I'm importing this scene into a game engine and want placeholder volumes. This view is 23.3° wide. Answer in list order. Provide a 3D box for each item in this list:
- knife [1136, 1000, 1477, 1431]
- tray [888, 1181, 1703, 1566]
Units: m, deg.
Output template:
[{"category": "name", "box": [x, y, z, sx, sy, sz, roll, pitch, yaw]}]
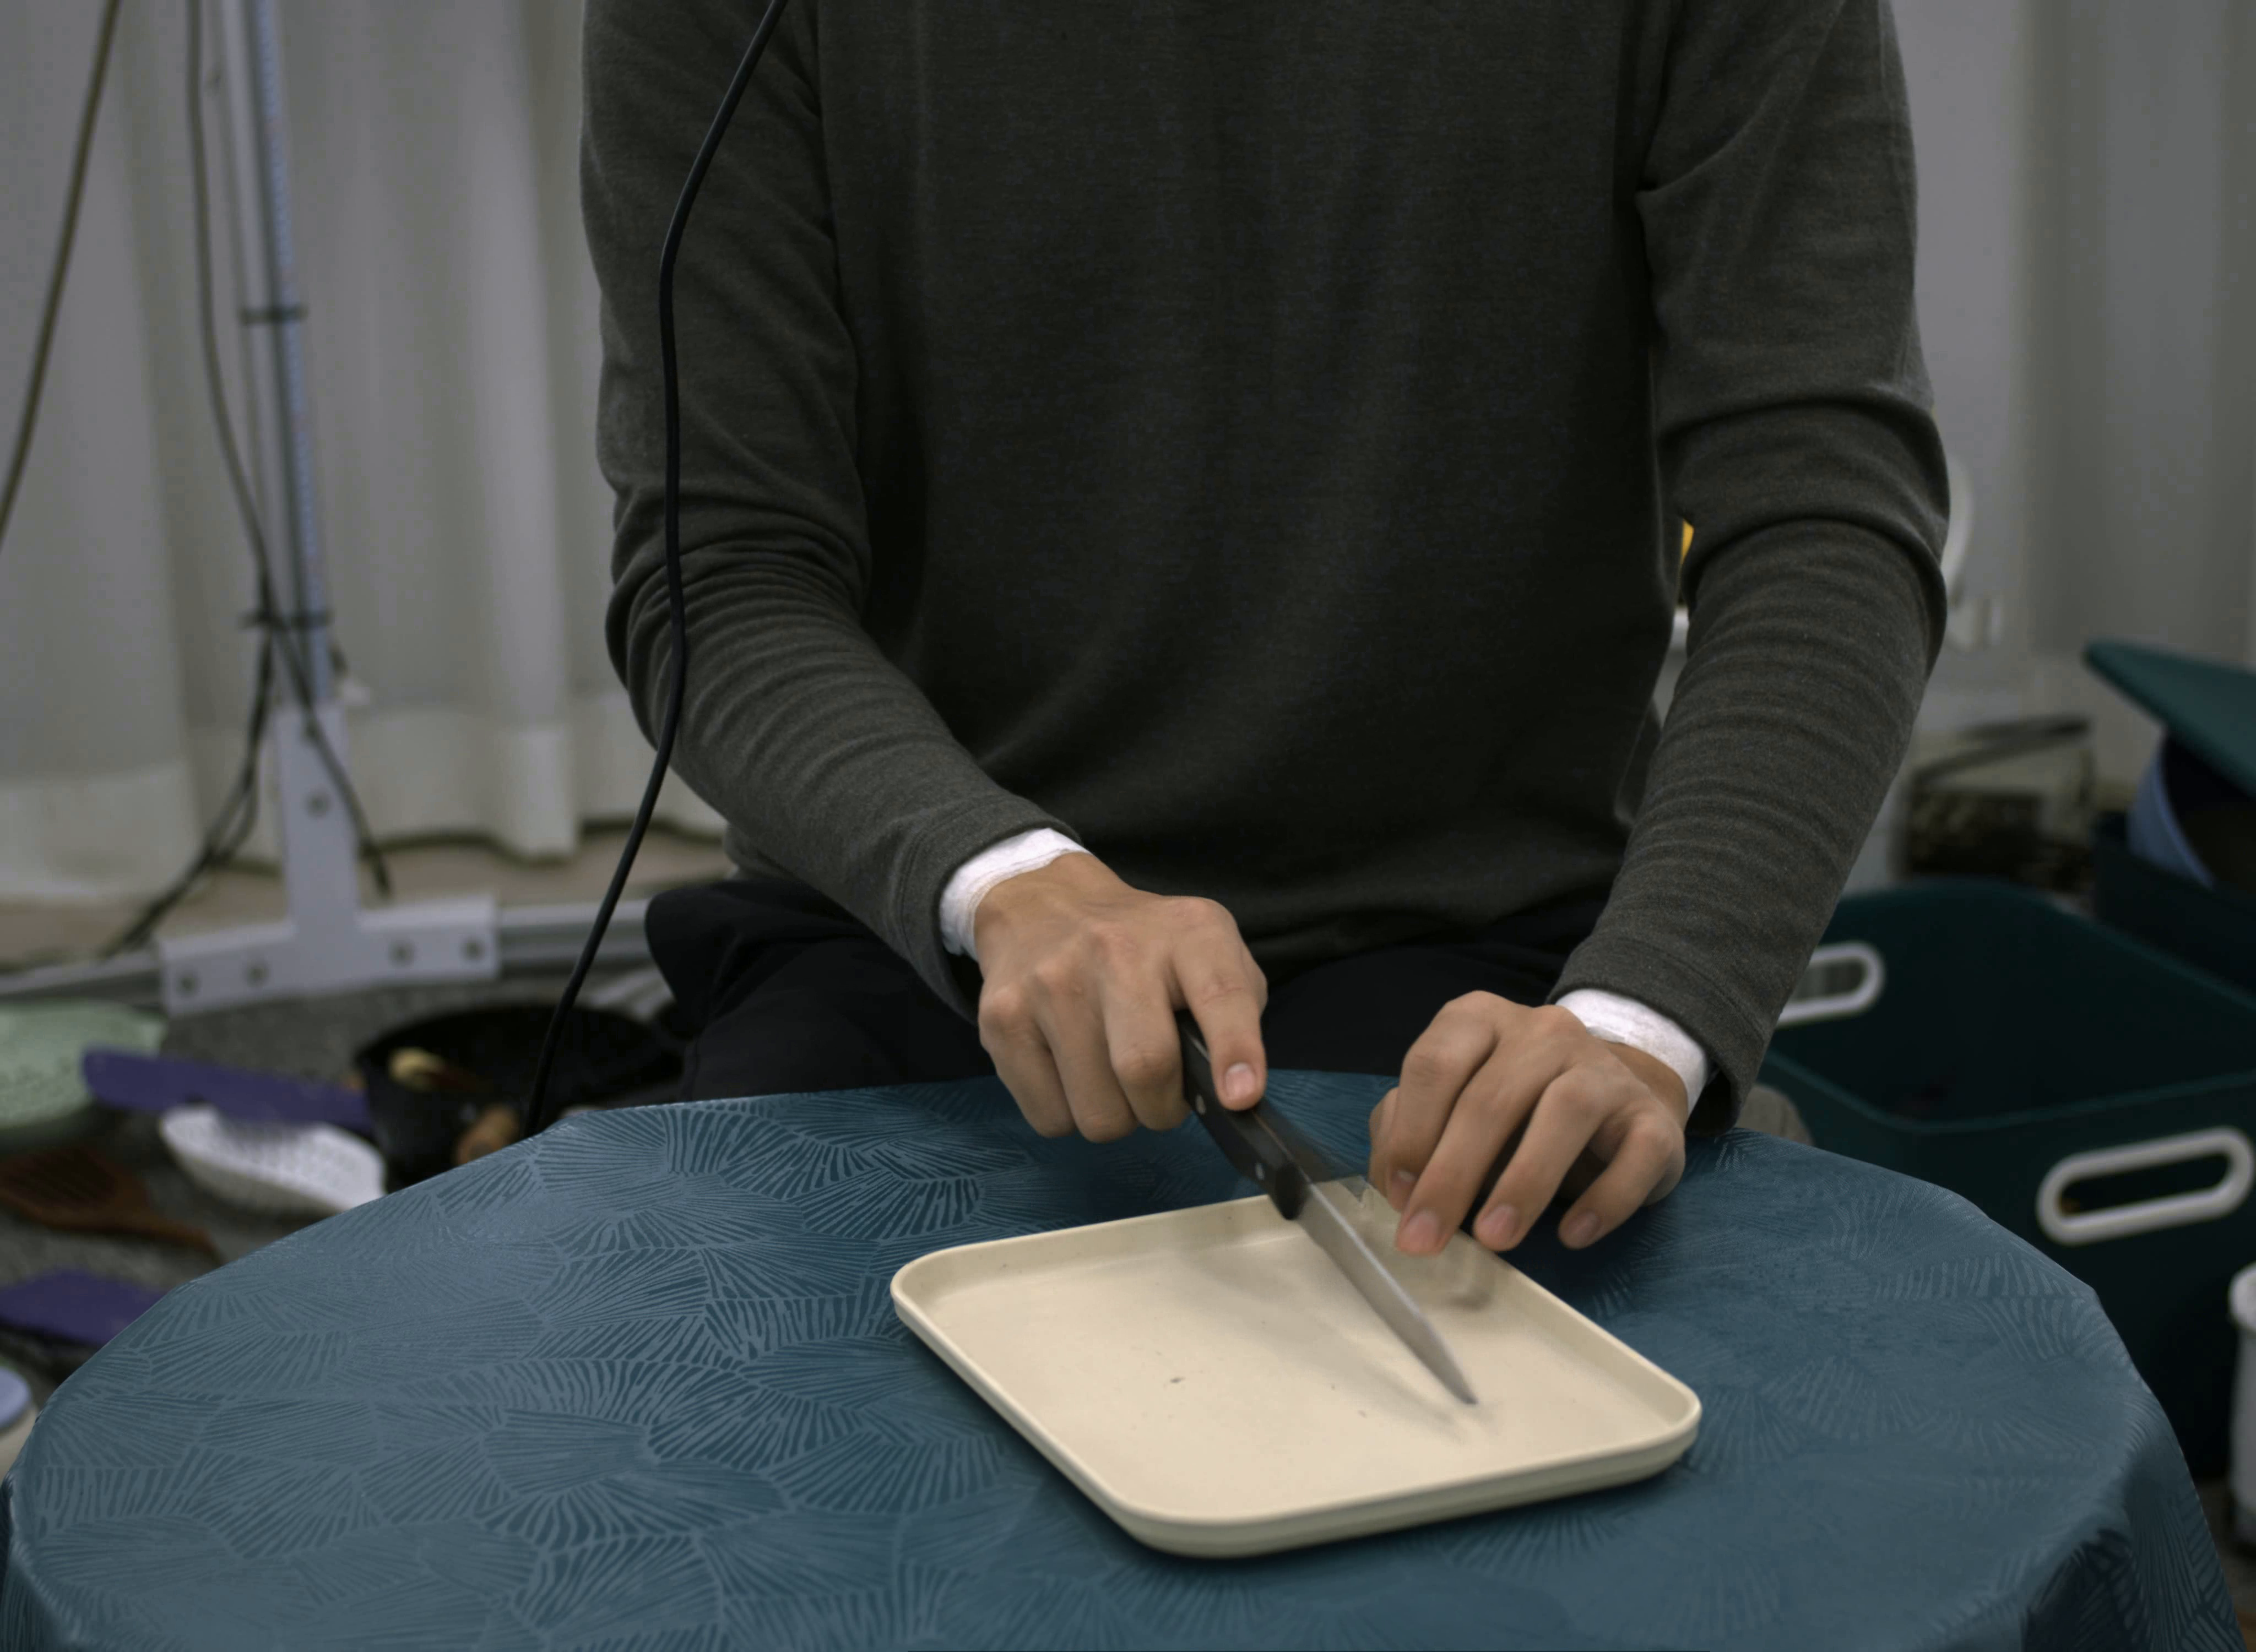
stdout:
[{"category": "knife", "box": [0.051, 0.110, 1.587, 0.016, 0.024, 0.241, -18, 32, -15]}, {"category": "tray", "box": [0.043, 0.152, 1.535, 0.170, 0.017, 0.241, -9, 16, -19]}]
